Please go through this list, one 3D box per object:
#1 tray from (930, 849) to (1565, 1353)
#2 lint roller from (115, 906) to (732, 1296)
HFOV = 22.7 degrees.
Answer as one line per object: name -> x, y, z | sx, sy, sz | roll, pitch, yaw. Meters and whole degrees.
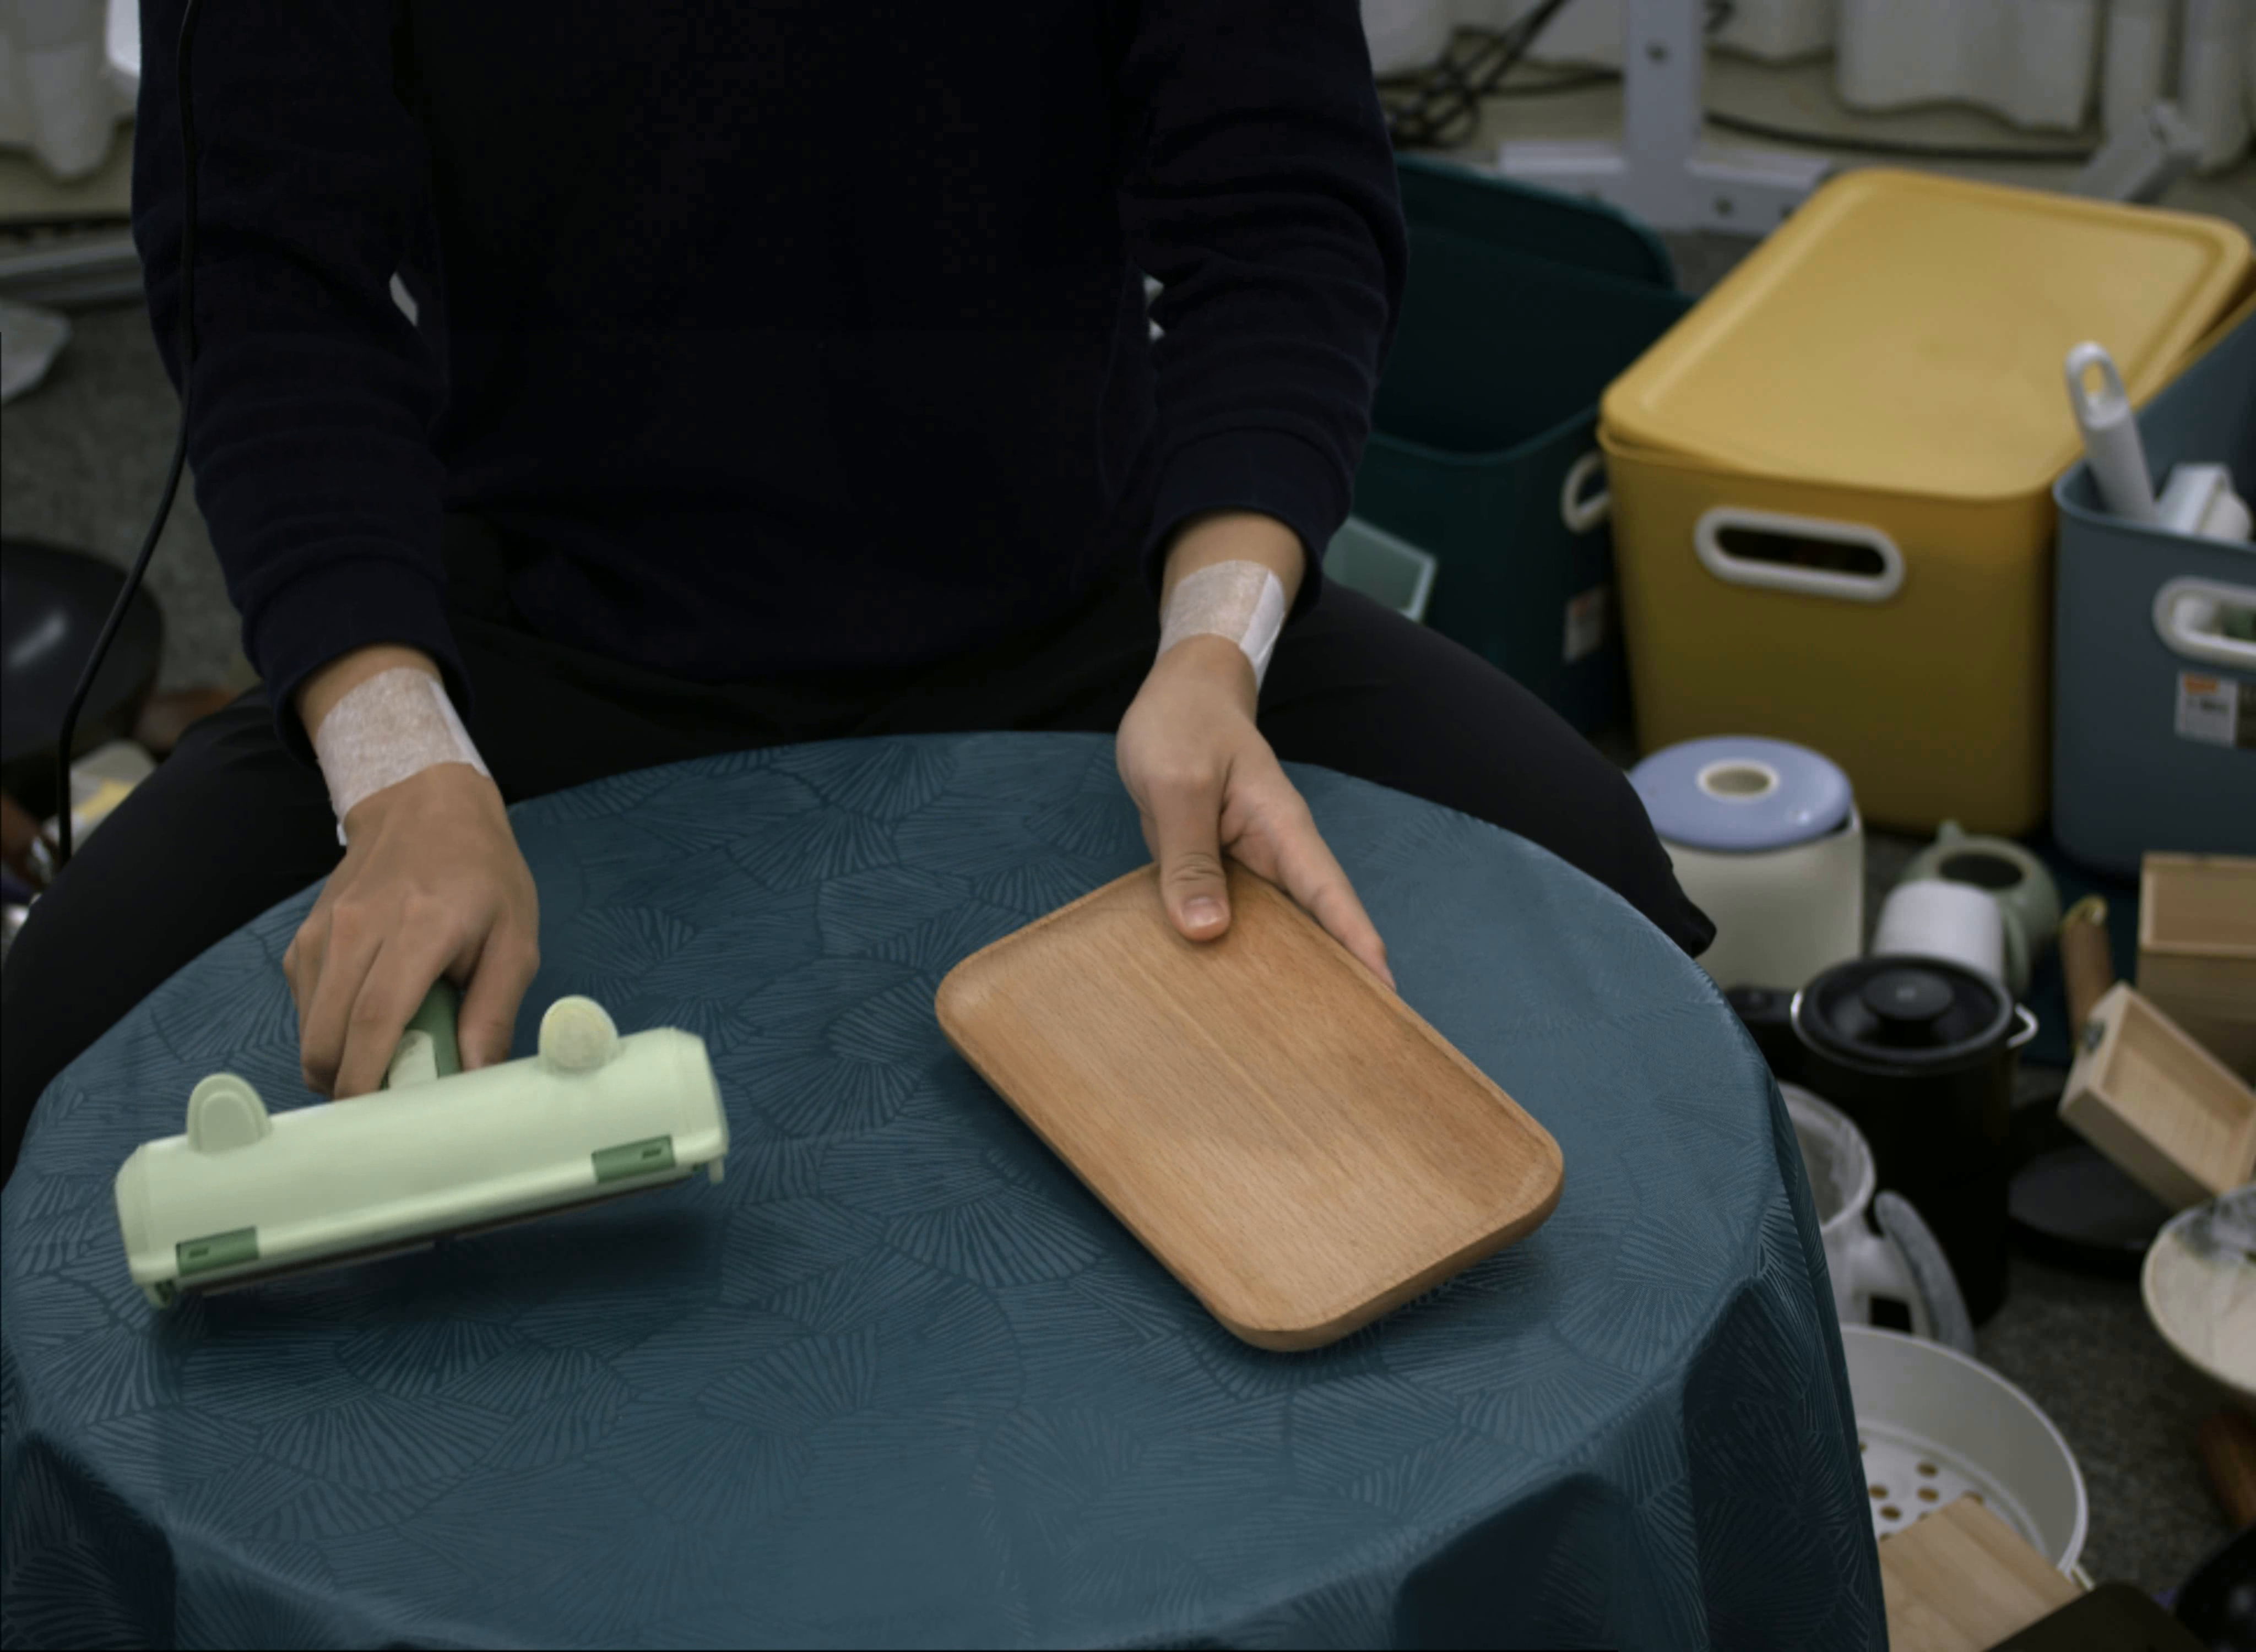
tray -> 0.036, 0.089, 1.868 | 0.131, 0.022, 0.252 | -24, 35, -18
lint roller -> -0.240, 0.067, 1.860 | 0.198, 0.081, 0.186 | -12, 41, -6
